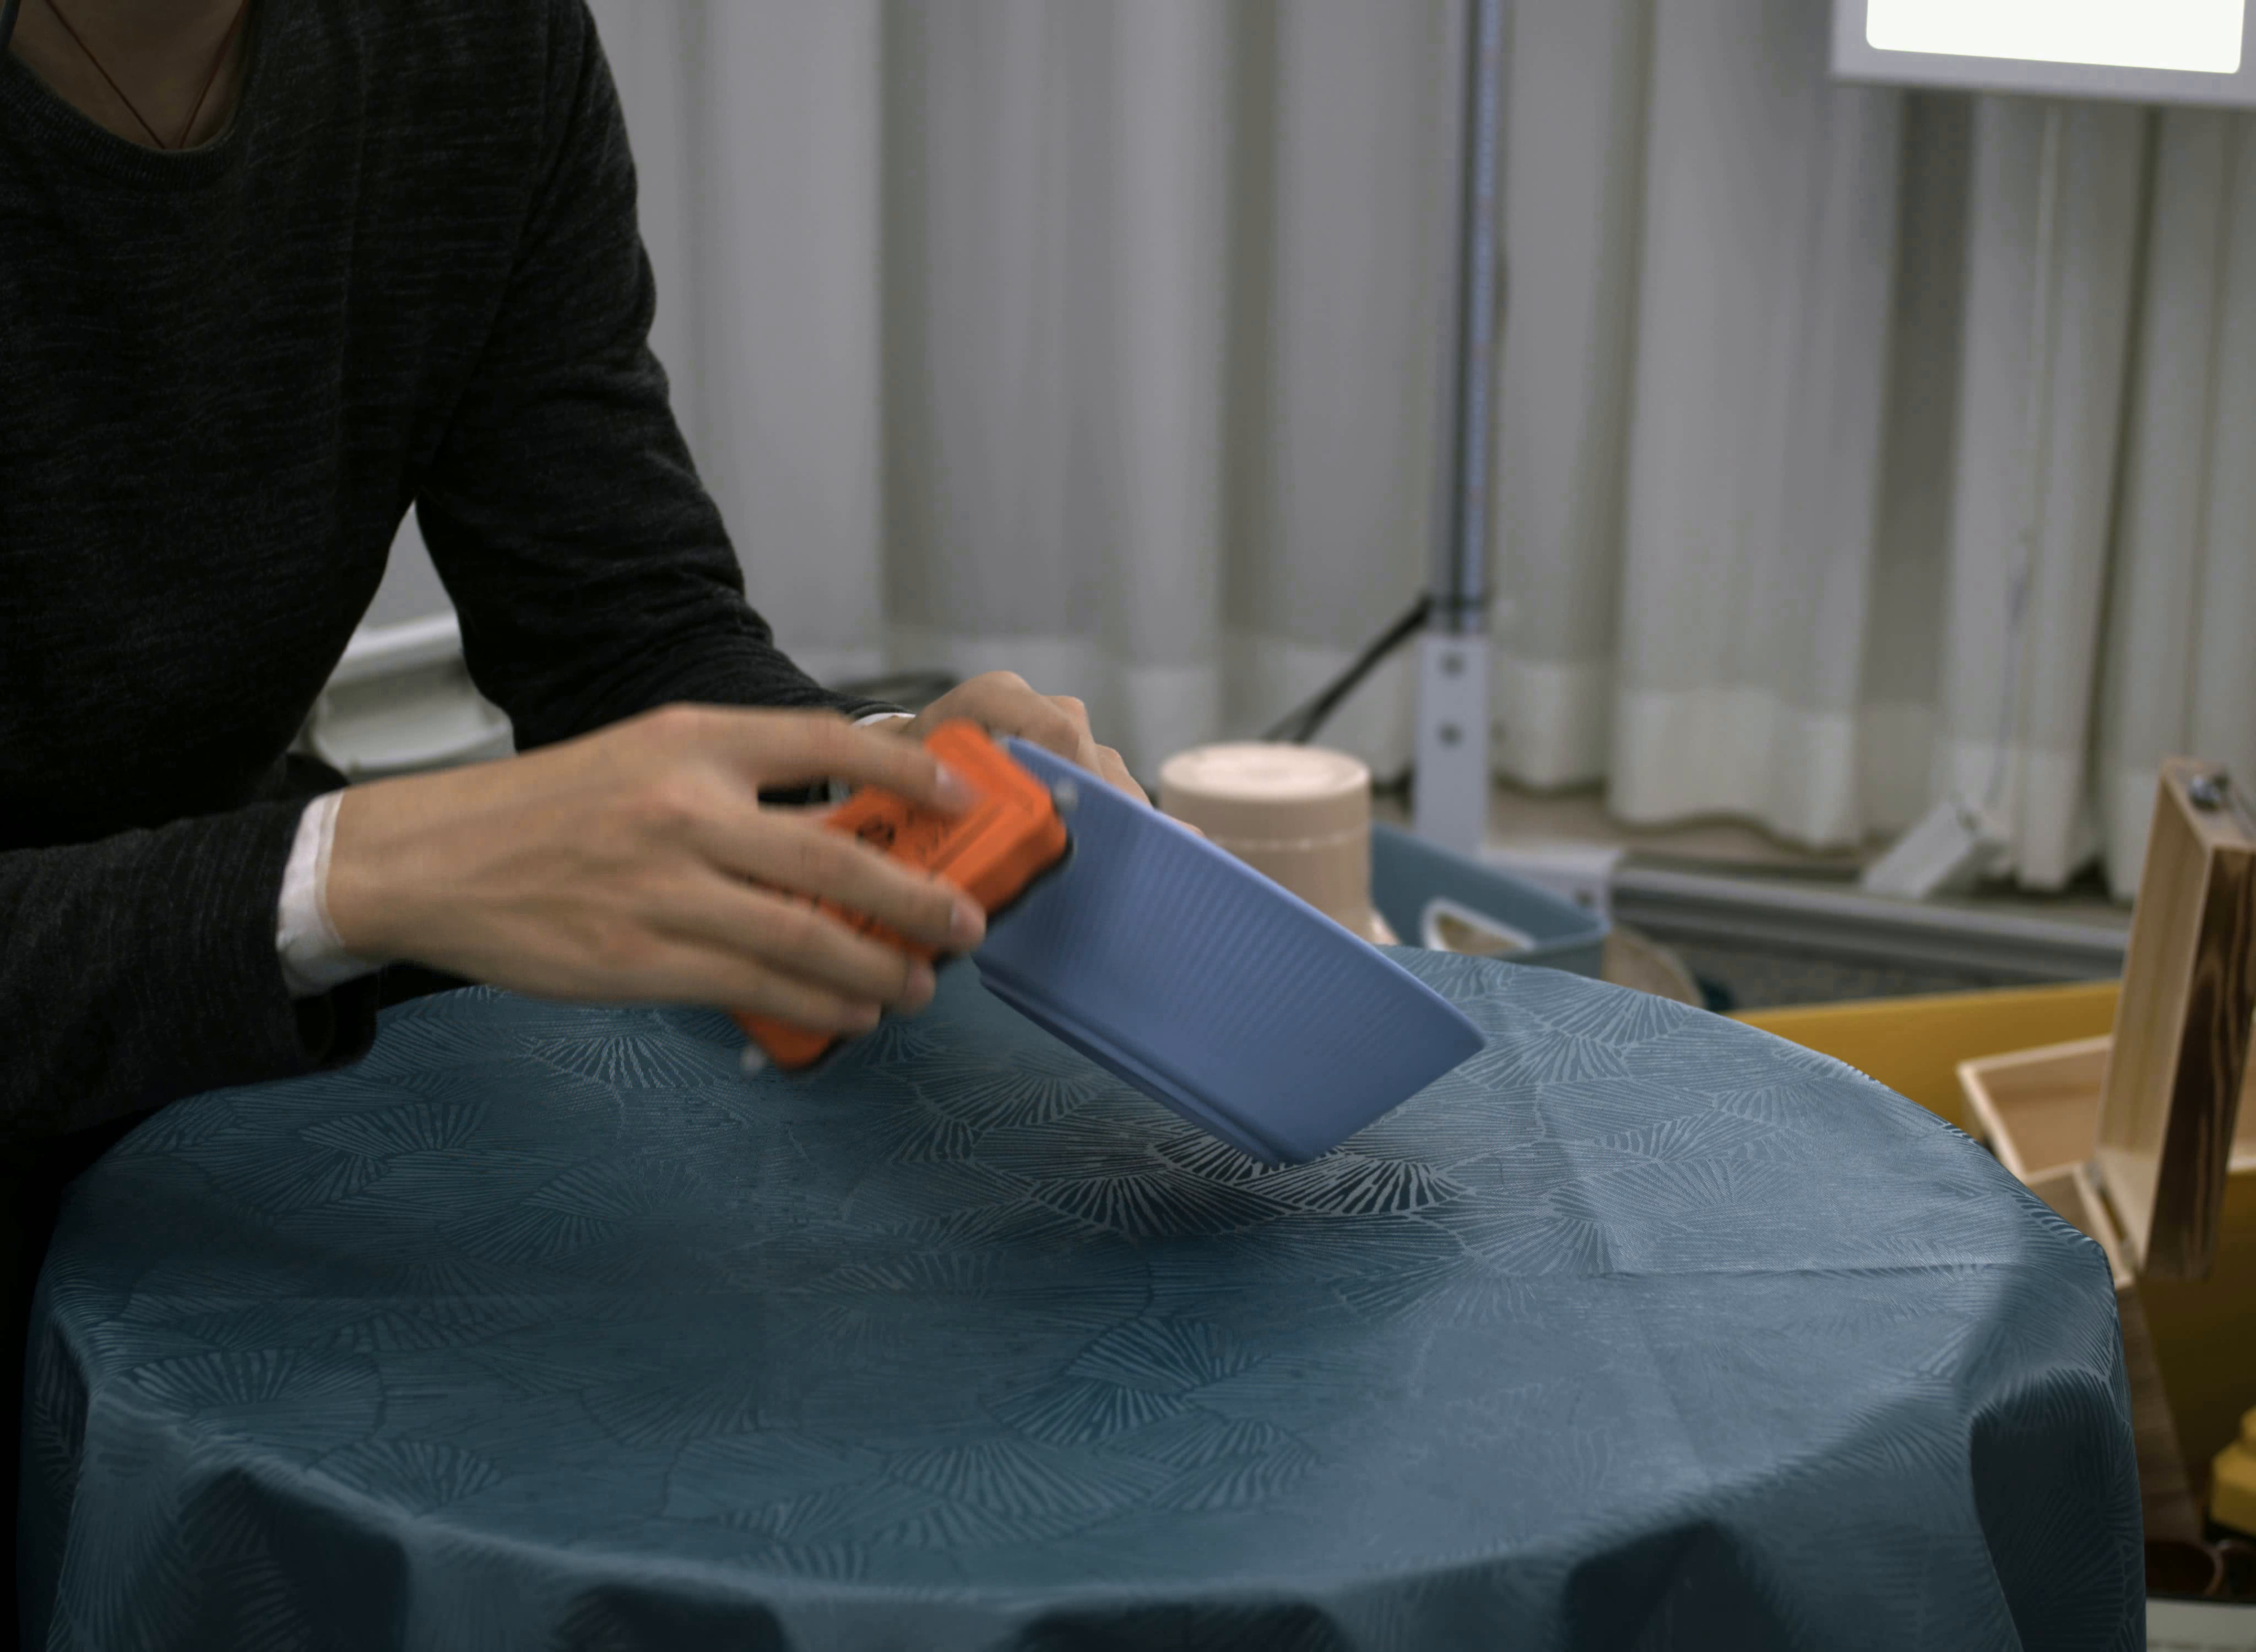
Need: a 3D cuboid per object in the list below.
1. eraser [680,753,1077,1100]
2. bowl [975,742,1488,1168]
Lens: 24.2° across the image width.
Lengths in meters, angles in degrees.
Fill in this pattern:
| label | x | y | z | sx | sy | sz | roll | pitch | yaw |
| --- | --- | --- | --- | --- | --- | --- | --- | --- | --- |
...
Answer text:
| label | x | y | z | sx | sy | sz | roll | pitch | yaw |
| --- | --- | --- | --- | --- | --- | --- | --- | --- | --- |
| eraser | -0.071 | 0.028 | 1.493 | 0.108 | 0.023 | 0.058 | -38 | 45 | -10 |
| bowl | 0.019 | 0.048 | 1.605 | 0.175 | 0.070 | 0.176 | 31 | -4 | 3 |
